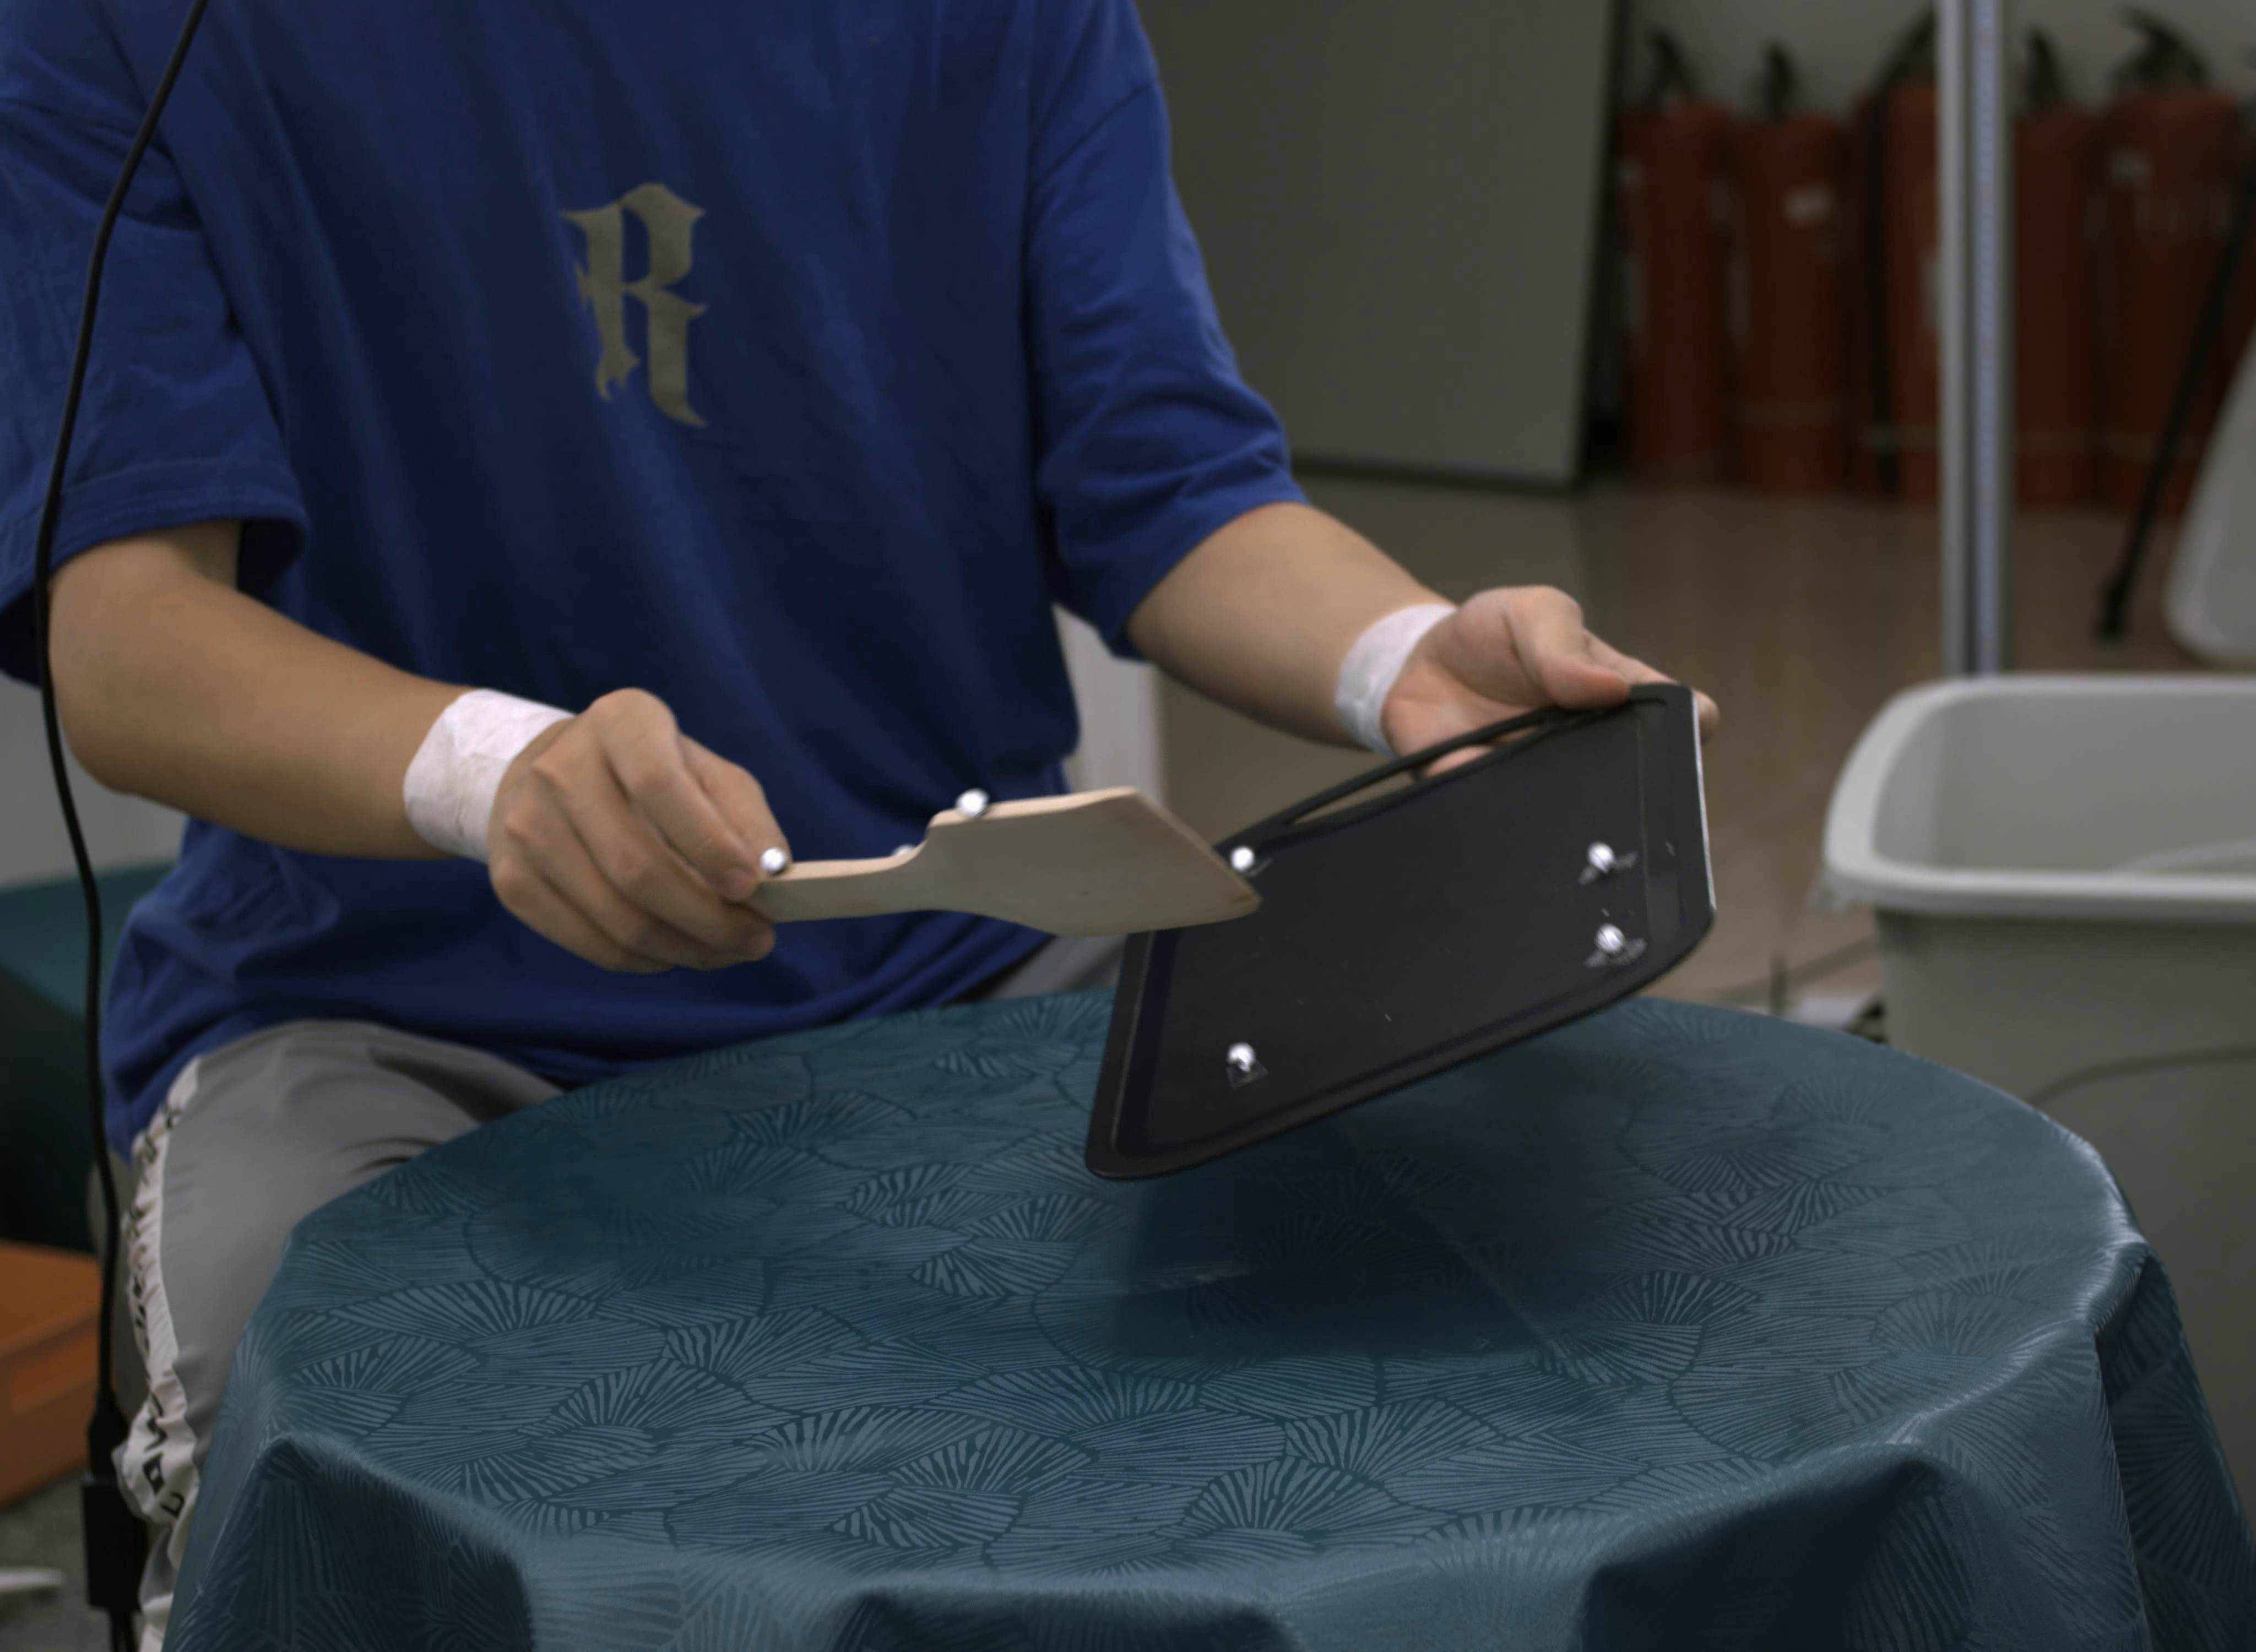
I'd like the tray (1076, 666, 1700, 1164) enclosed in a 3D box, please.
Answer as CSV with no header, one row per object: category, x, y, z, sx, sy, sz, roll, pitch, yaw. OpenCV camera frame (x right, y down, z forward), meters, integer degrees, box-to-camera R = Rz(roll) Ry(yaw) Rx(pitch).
tray,0.087,0.021,1.741,0.210,0.010,0.325,-23,15,13

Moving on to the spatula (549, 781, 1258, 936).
spatula,-0.085,0.017,1.721,0.295,0.071,0.011,-6,53,44
